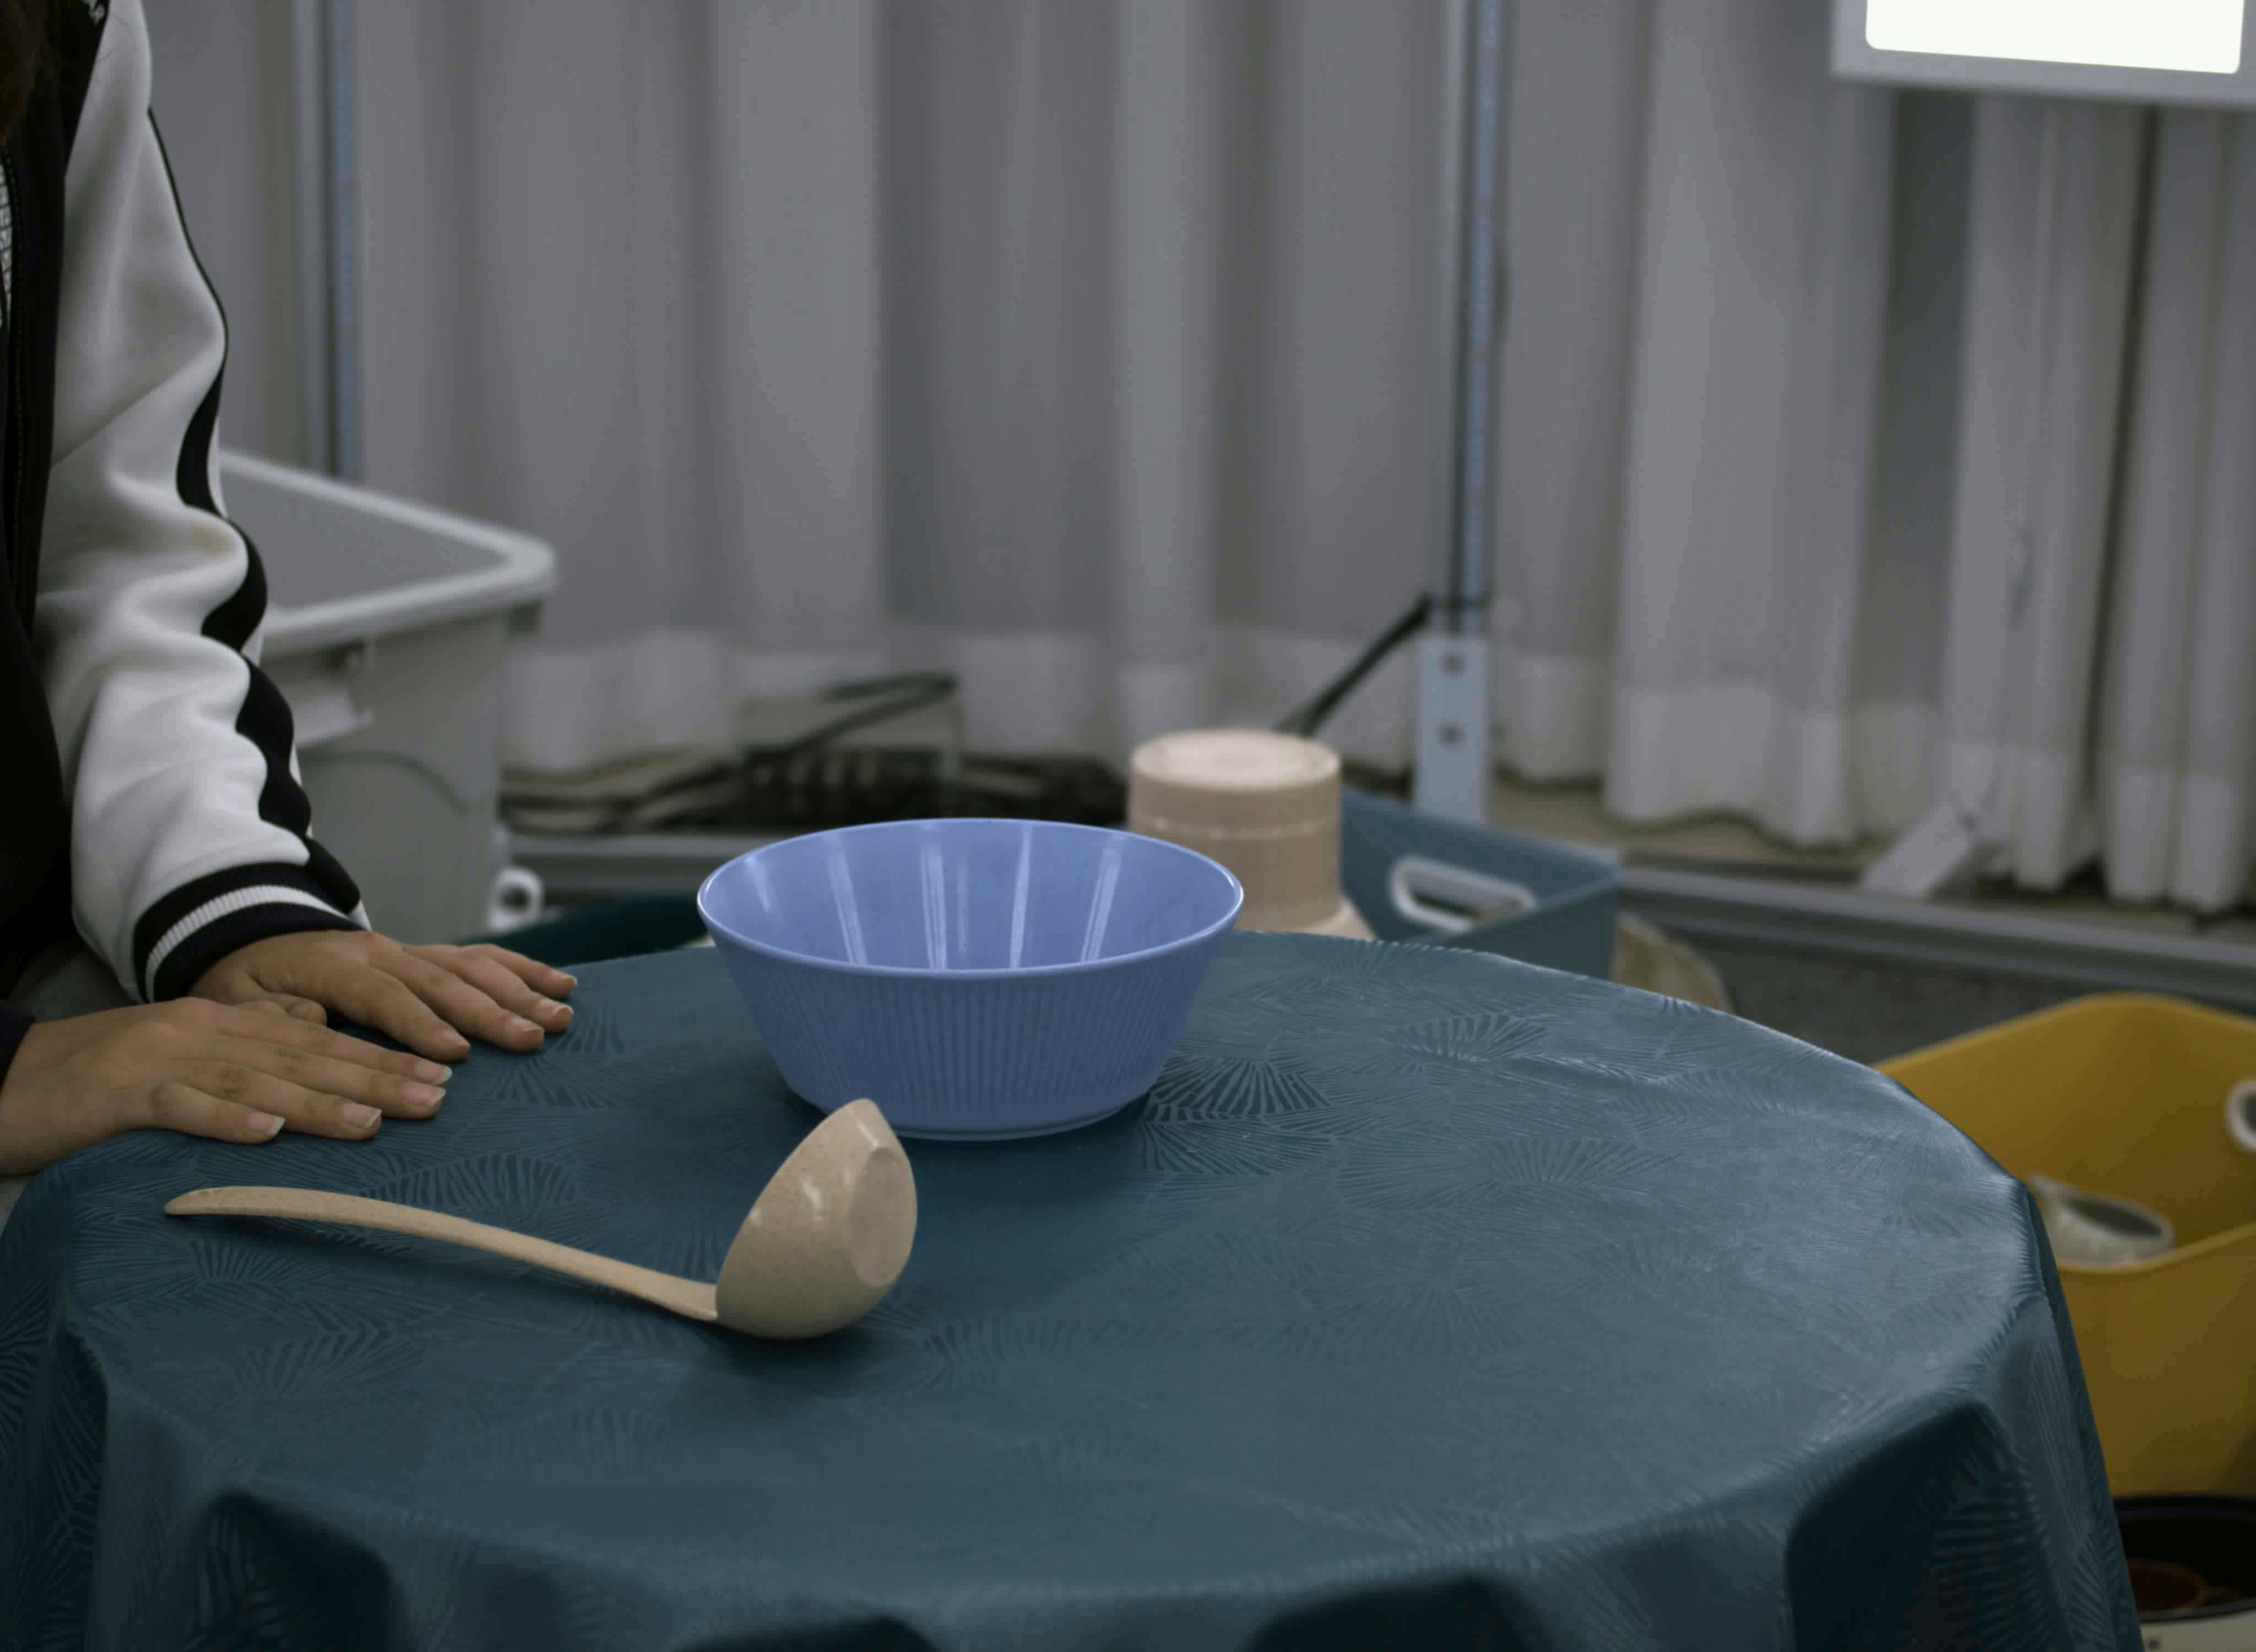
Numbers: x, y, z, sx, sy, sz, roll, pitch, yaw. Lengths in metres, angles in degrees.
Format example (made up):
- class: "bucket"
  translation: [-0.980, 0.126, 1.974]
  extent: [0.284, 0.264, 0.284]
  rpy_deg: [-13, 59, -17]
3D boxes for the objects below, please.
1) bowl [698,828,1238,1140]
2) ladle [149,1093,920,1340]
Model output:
- class: "bowl"
  translation: [-0.052, 0.053, 1.703]
  extent: [0.175, 0.071, 0.175]
  rpy_deg: [1, 15, 0]
- class: "ladle"
  translation: [-0.180, 0.098, 1.530]
  extent: [0.252, 0.073, 0.072]
  rpy_deg: [8, 16, 24]
